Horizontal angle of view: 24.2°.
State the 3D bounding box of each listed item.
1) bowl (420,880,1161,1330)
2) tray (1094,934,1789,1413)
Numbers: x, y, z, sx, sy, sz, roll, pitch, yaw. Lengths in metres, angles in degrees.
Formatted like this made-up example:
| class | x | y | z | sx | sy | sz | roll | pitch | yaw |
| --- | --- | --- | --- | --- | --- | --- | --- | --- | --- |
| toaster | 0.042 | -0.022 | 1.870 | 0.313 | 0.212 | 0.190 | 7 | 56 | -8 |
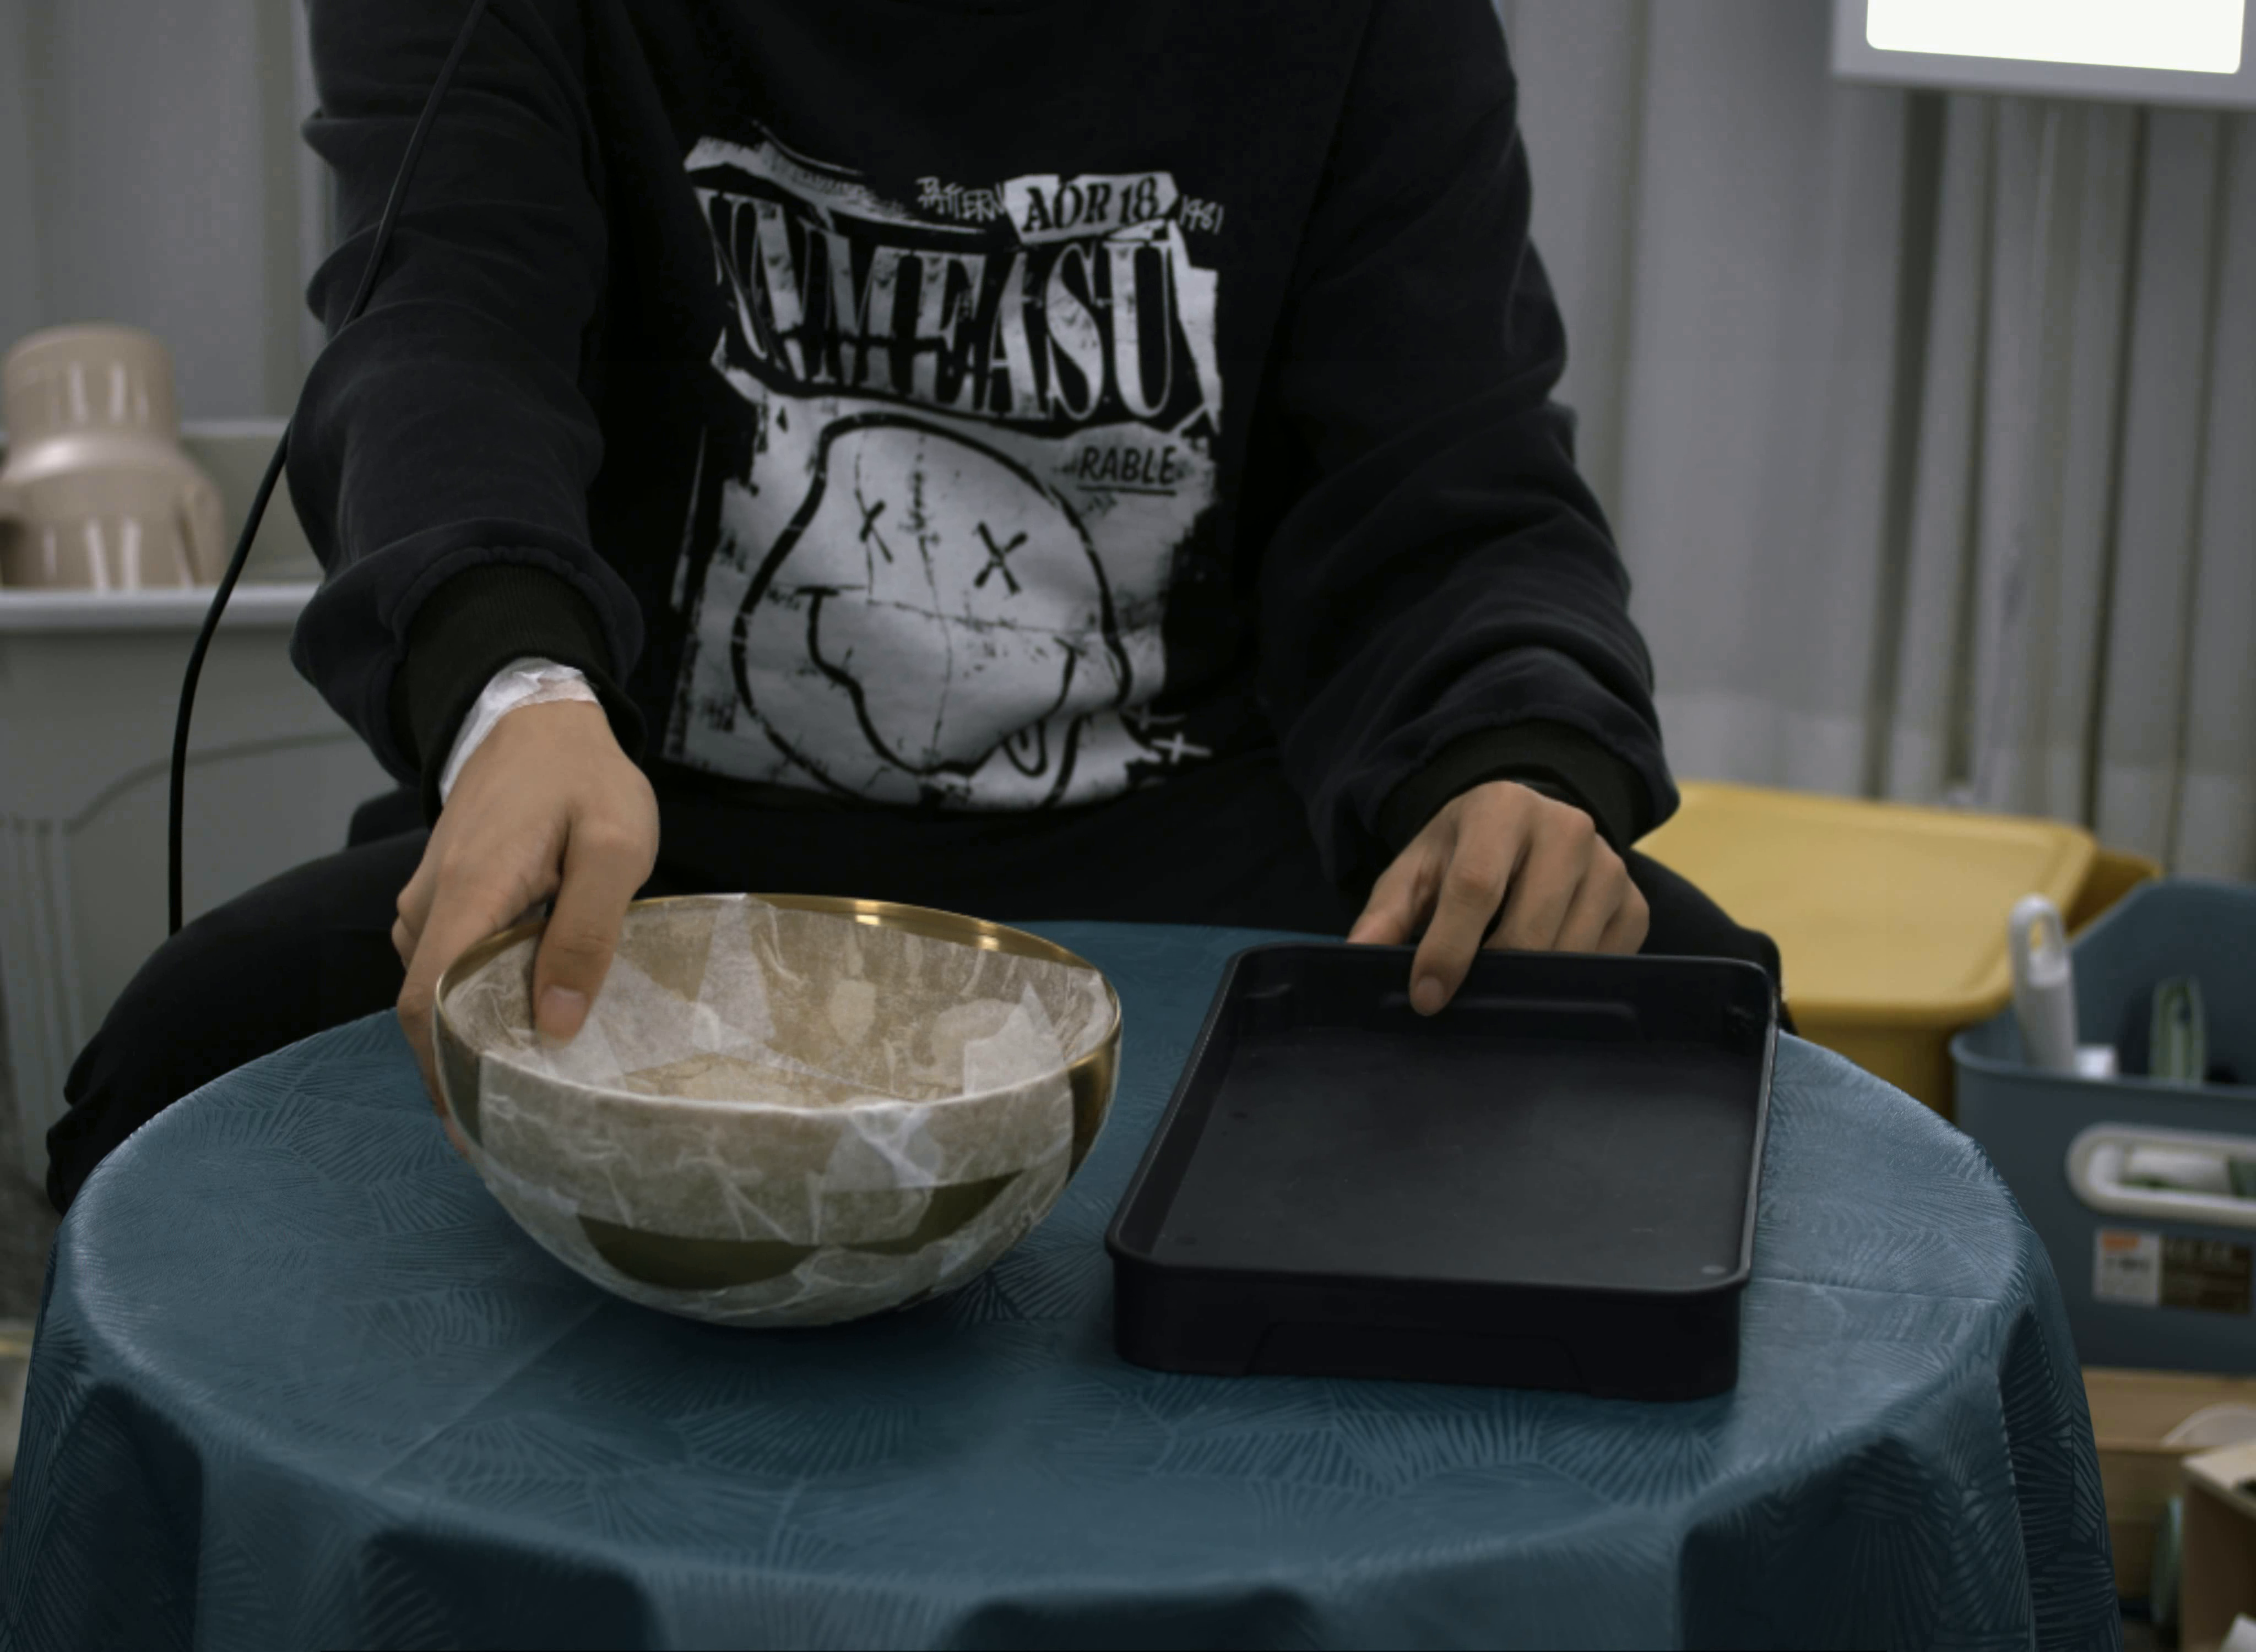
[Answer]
| class | x | y | z | sx | sy | sz | roll | pitch | yaw |
| --- | --- | --- | --- | --- | --- | --- | --- | --- | --- |
| bowl | -0.099 | 0.090 | 1.530 | 0.214 | 0.095 | 0.213 | 1 | 17 | 0 |
| tray | 0.103 | 0.099 | 1.612 | 0.183 | 0.037 | 0.317 | 4 | 17 | 9 |
